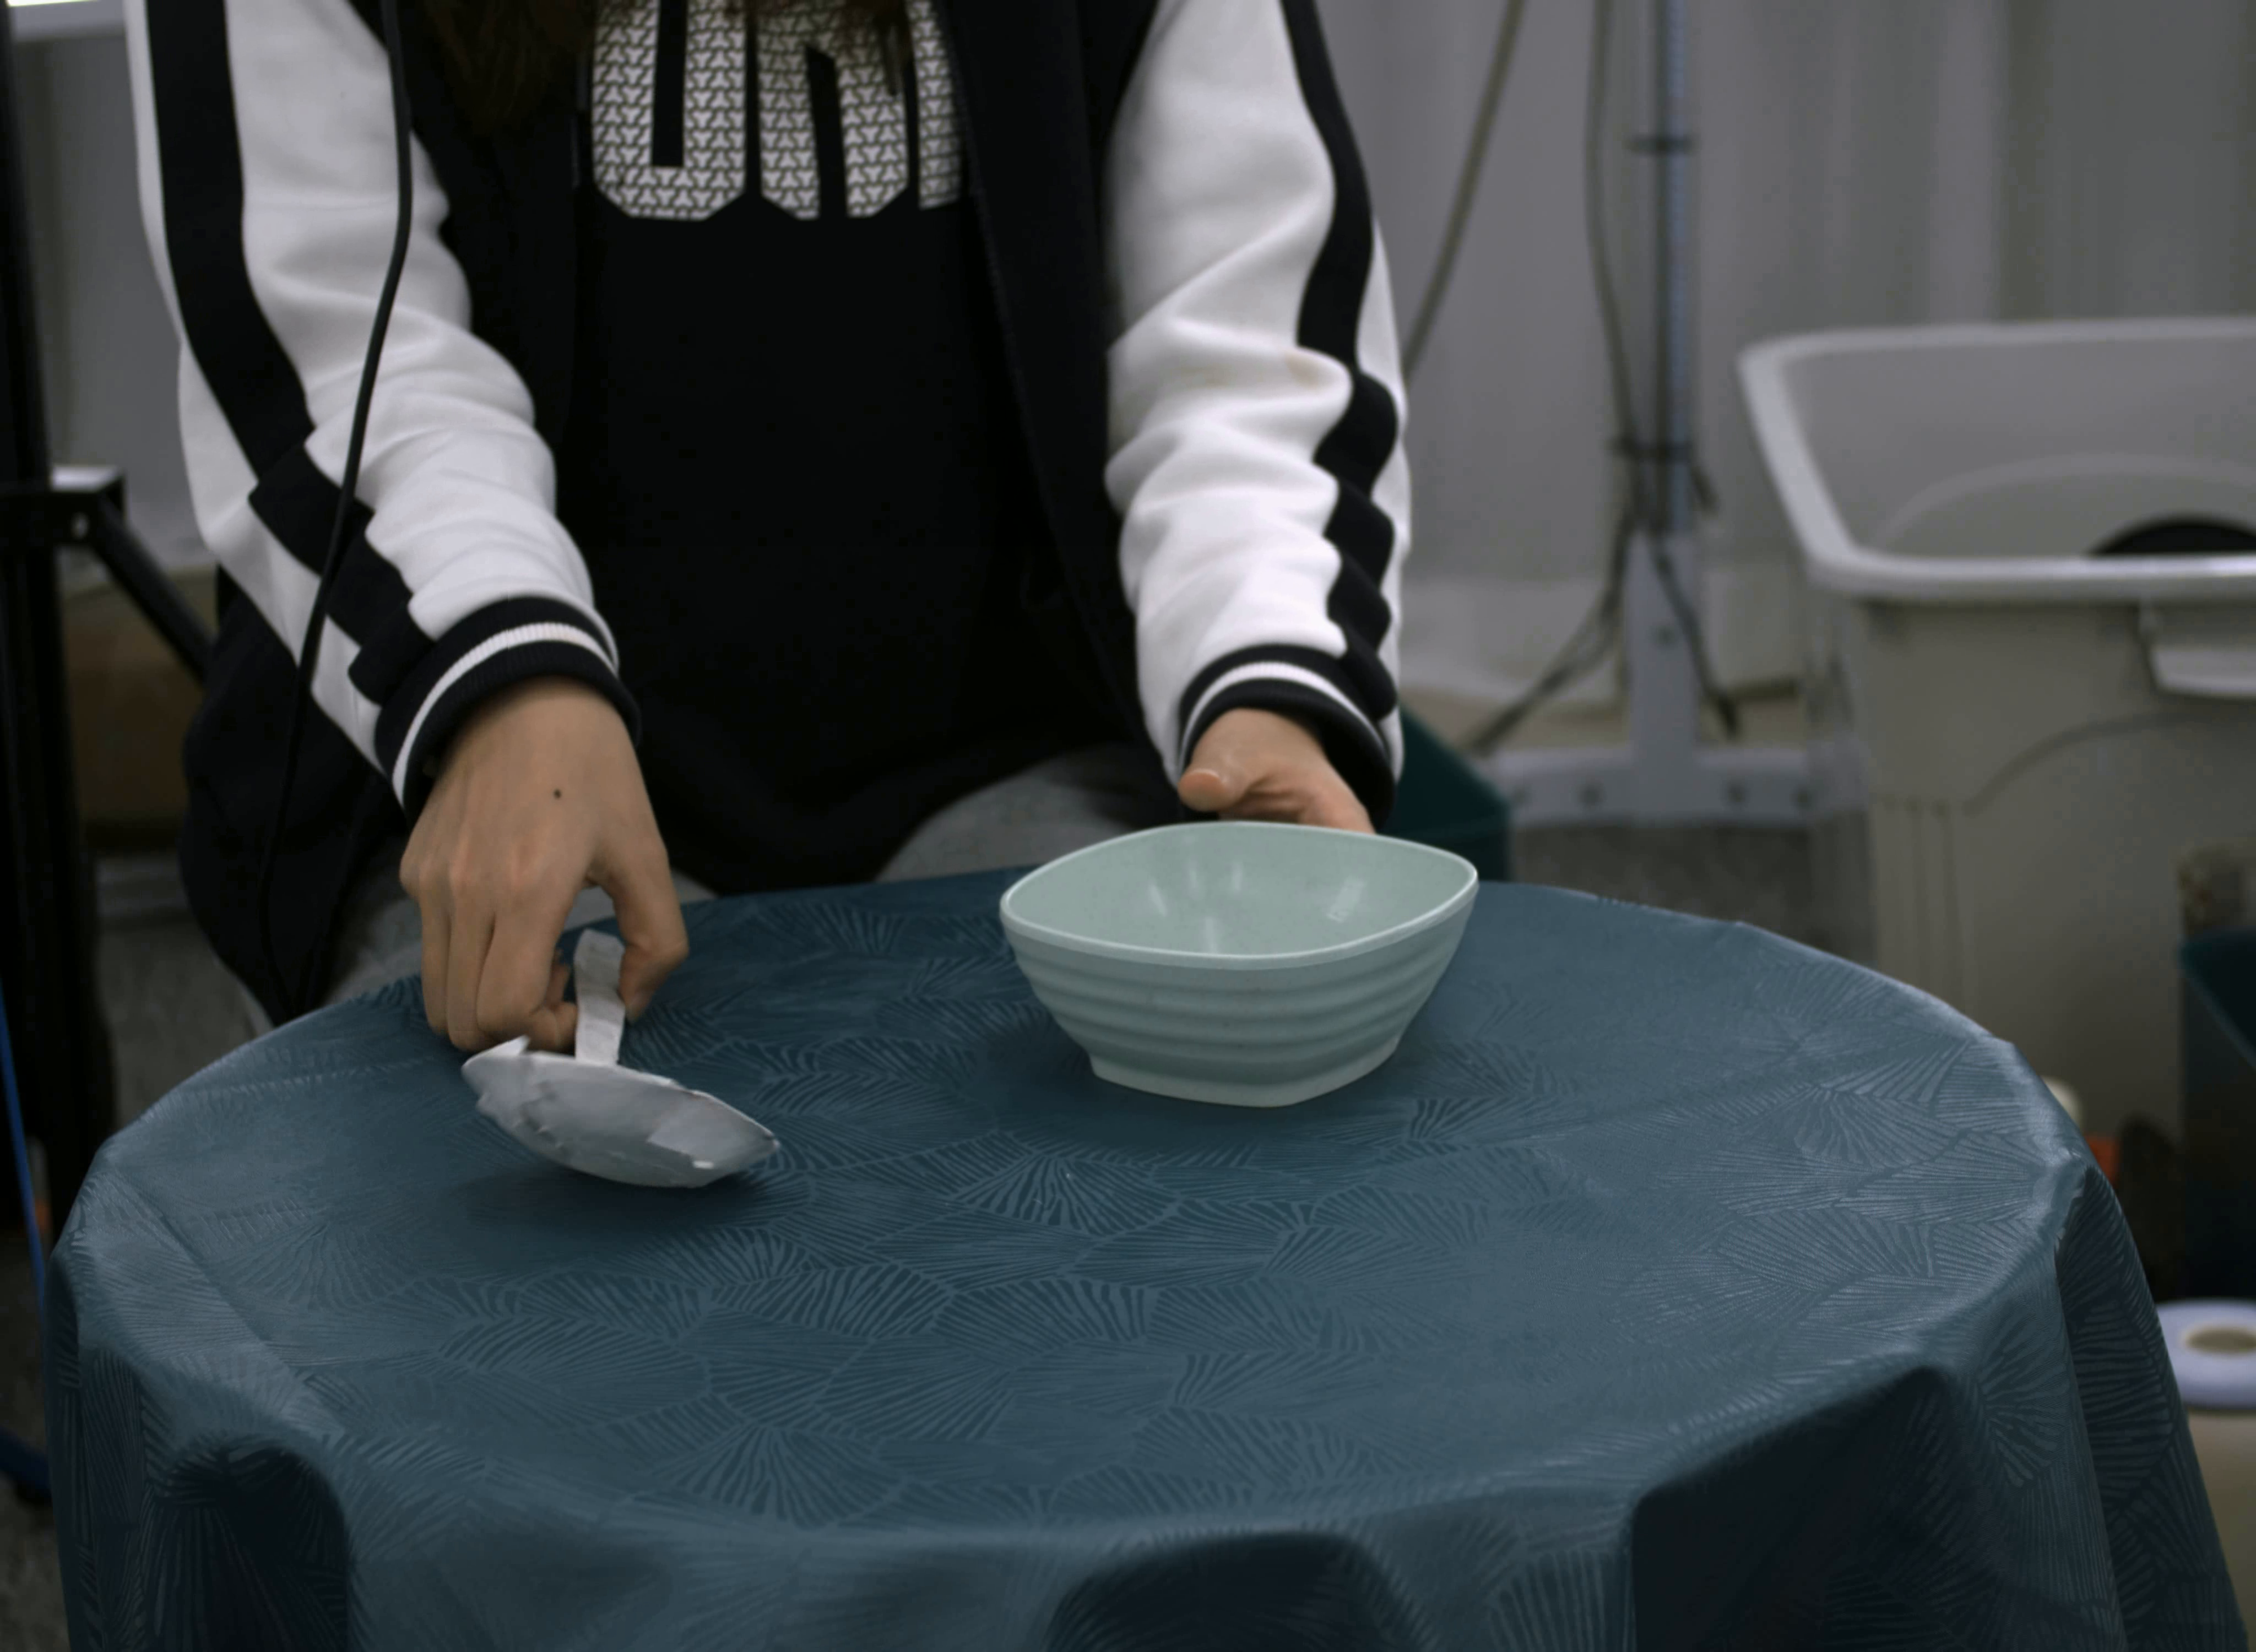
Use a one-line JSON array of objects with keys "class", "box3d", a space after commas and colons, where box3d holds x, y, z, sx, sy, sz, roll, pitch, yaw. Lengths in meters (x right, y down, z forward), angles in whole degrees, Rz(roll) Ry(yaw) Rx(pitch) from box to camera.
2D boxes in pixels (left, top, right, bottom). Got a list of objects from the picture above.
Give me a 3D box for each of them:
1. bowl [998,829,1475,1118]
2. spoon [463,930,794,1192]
[{"class": "bowl", "box3d": [0.035, 0.049, 1.665, 0.150, 0.058, 0.152, -2, 15, -1]}, {"class": "spoon", "box3d": [-0.148, 0.056, 1.659, 0.100, 0.059, 0.278, 19, 16, -6]}]
